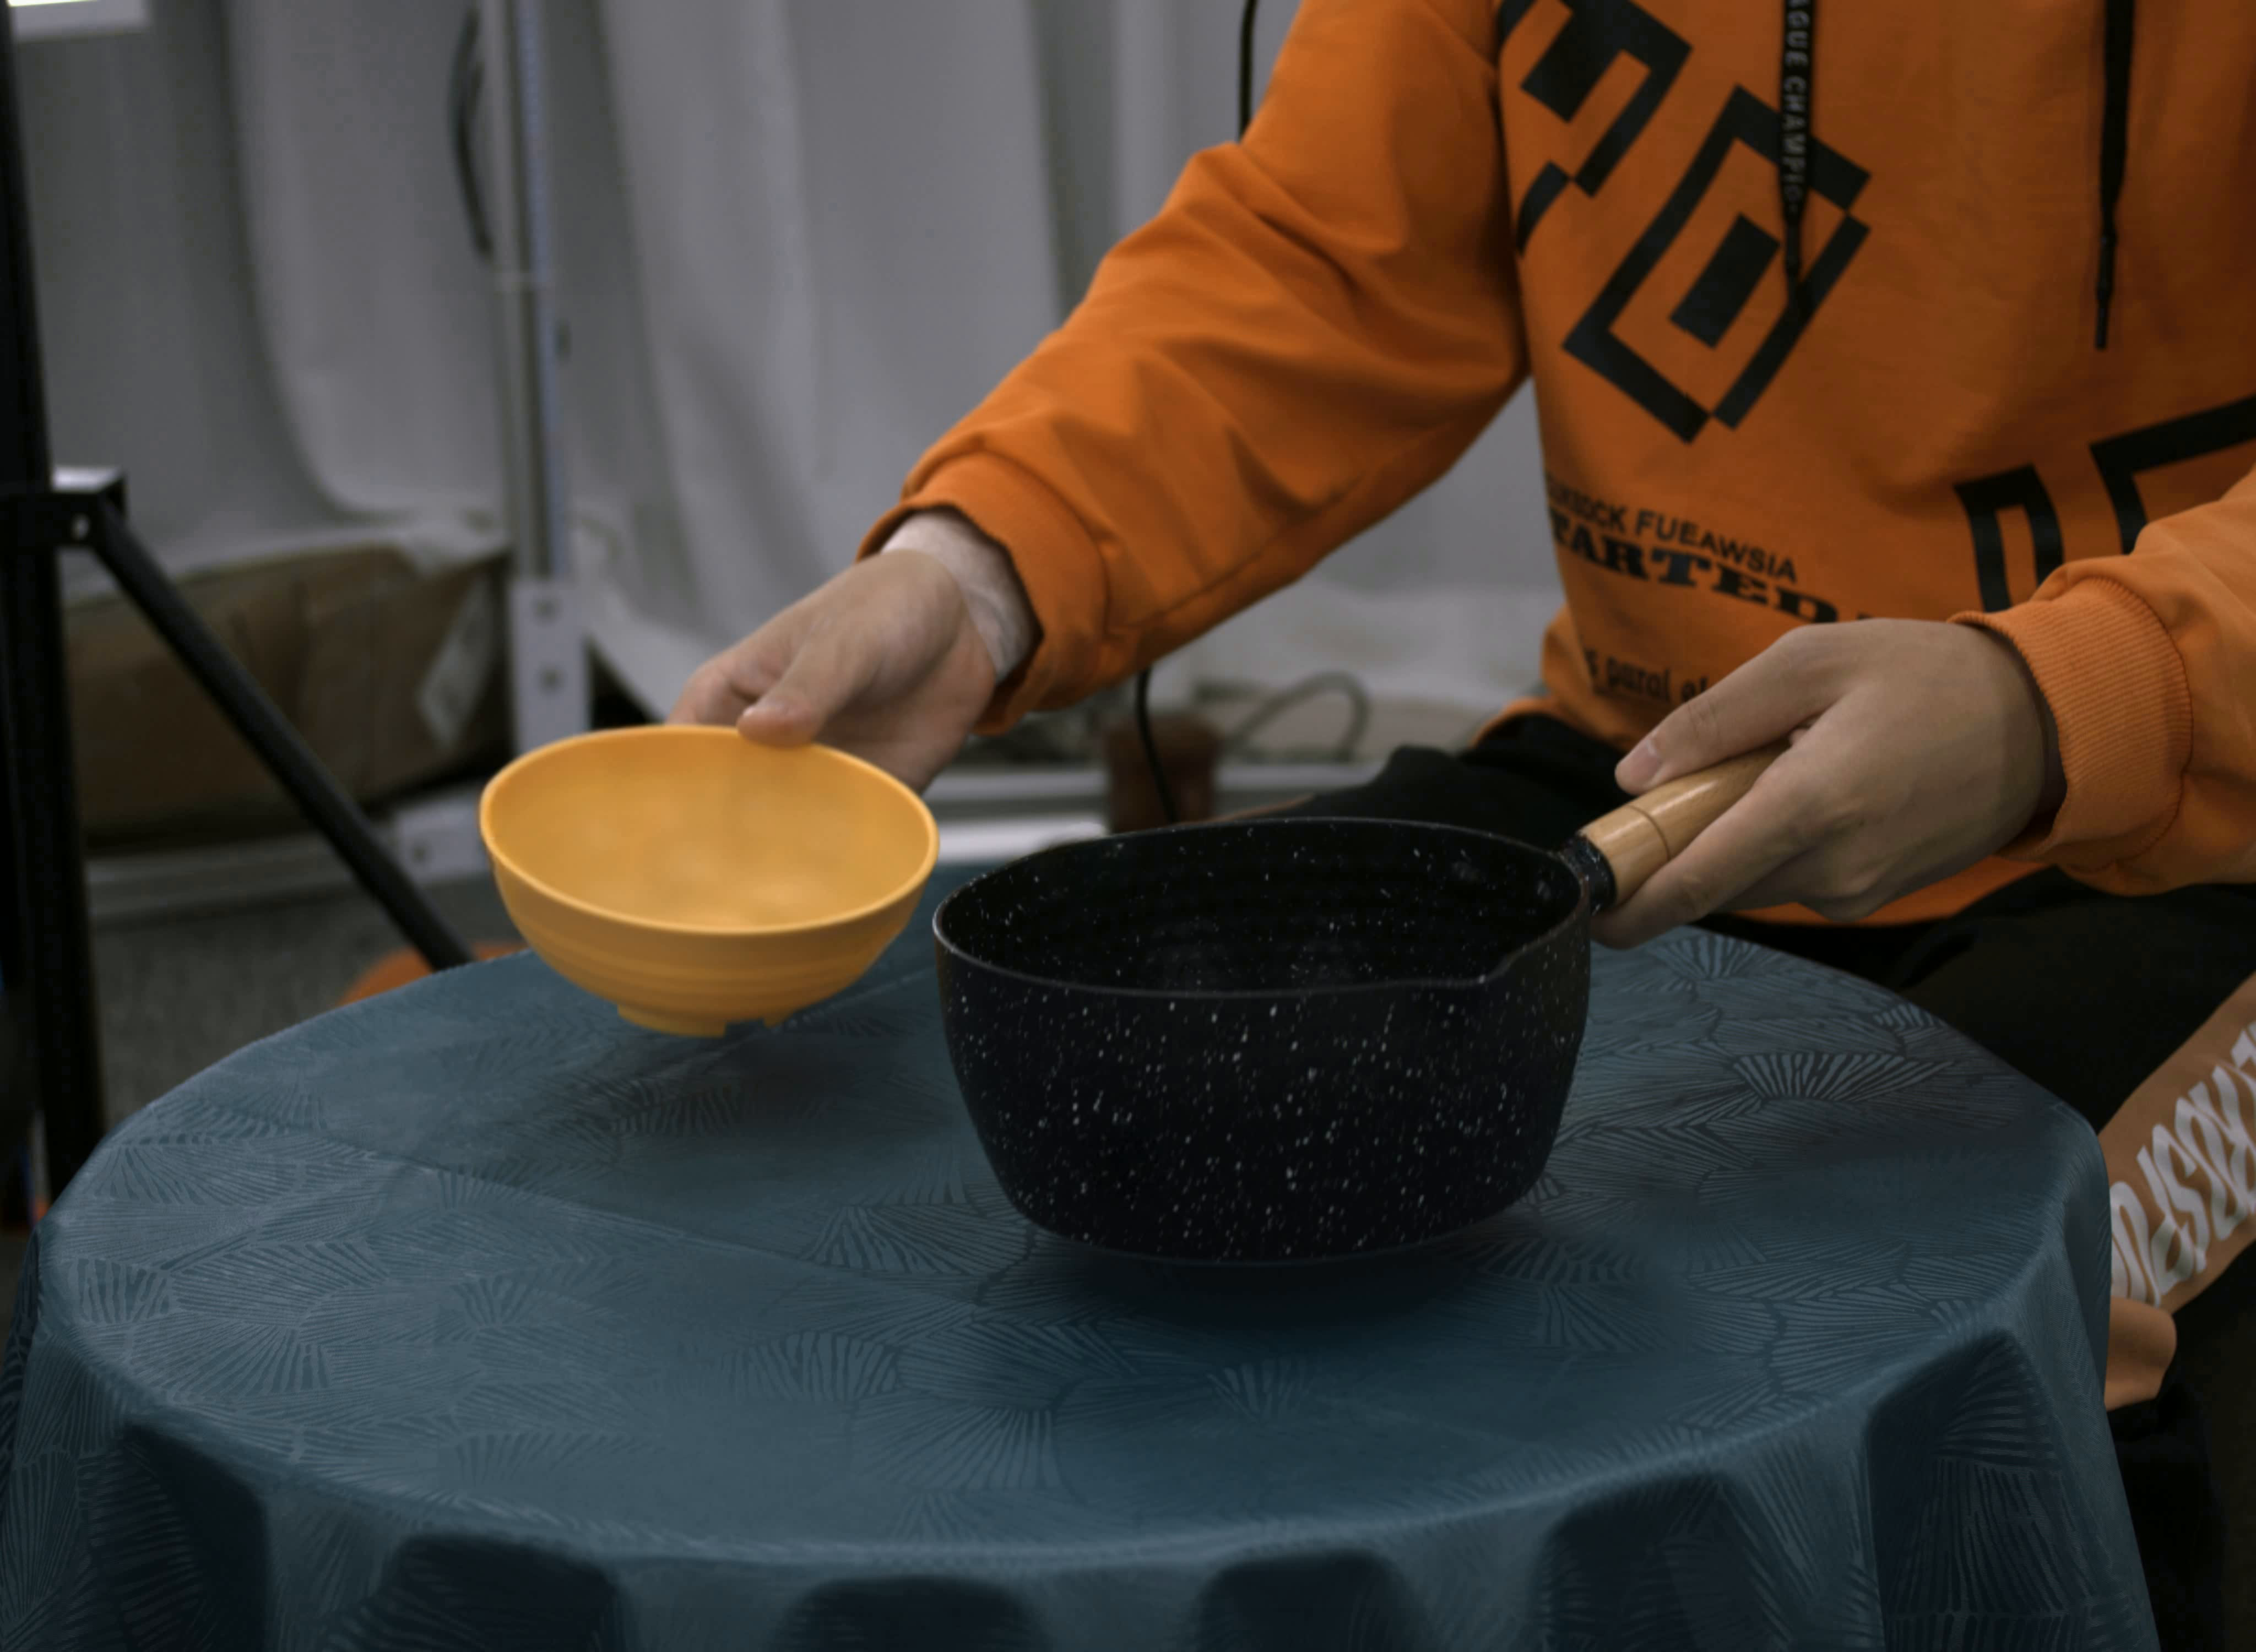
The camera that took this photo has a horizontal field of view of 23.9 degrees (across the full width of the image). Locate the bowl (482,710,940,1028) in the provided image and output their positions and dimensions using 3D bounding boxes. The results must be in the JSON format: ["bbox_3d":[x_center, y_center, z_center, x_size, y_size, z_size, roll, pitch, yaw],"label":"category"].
[{"bbox_3d":[-0.133,0.022,1.672,0.144,0.060,0.146,5,26,-4],"label":"bowl"}]

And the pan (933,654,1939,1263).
[{"bbox_3d":[0.103,0.034,1.530,0.335,0.108,0.212,-14,16,-33],"label":"pan"}]
